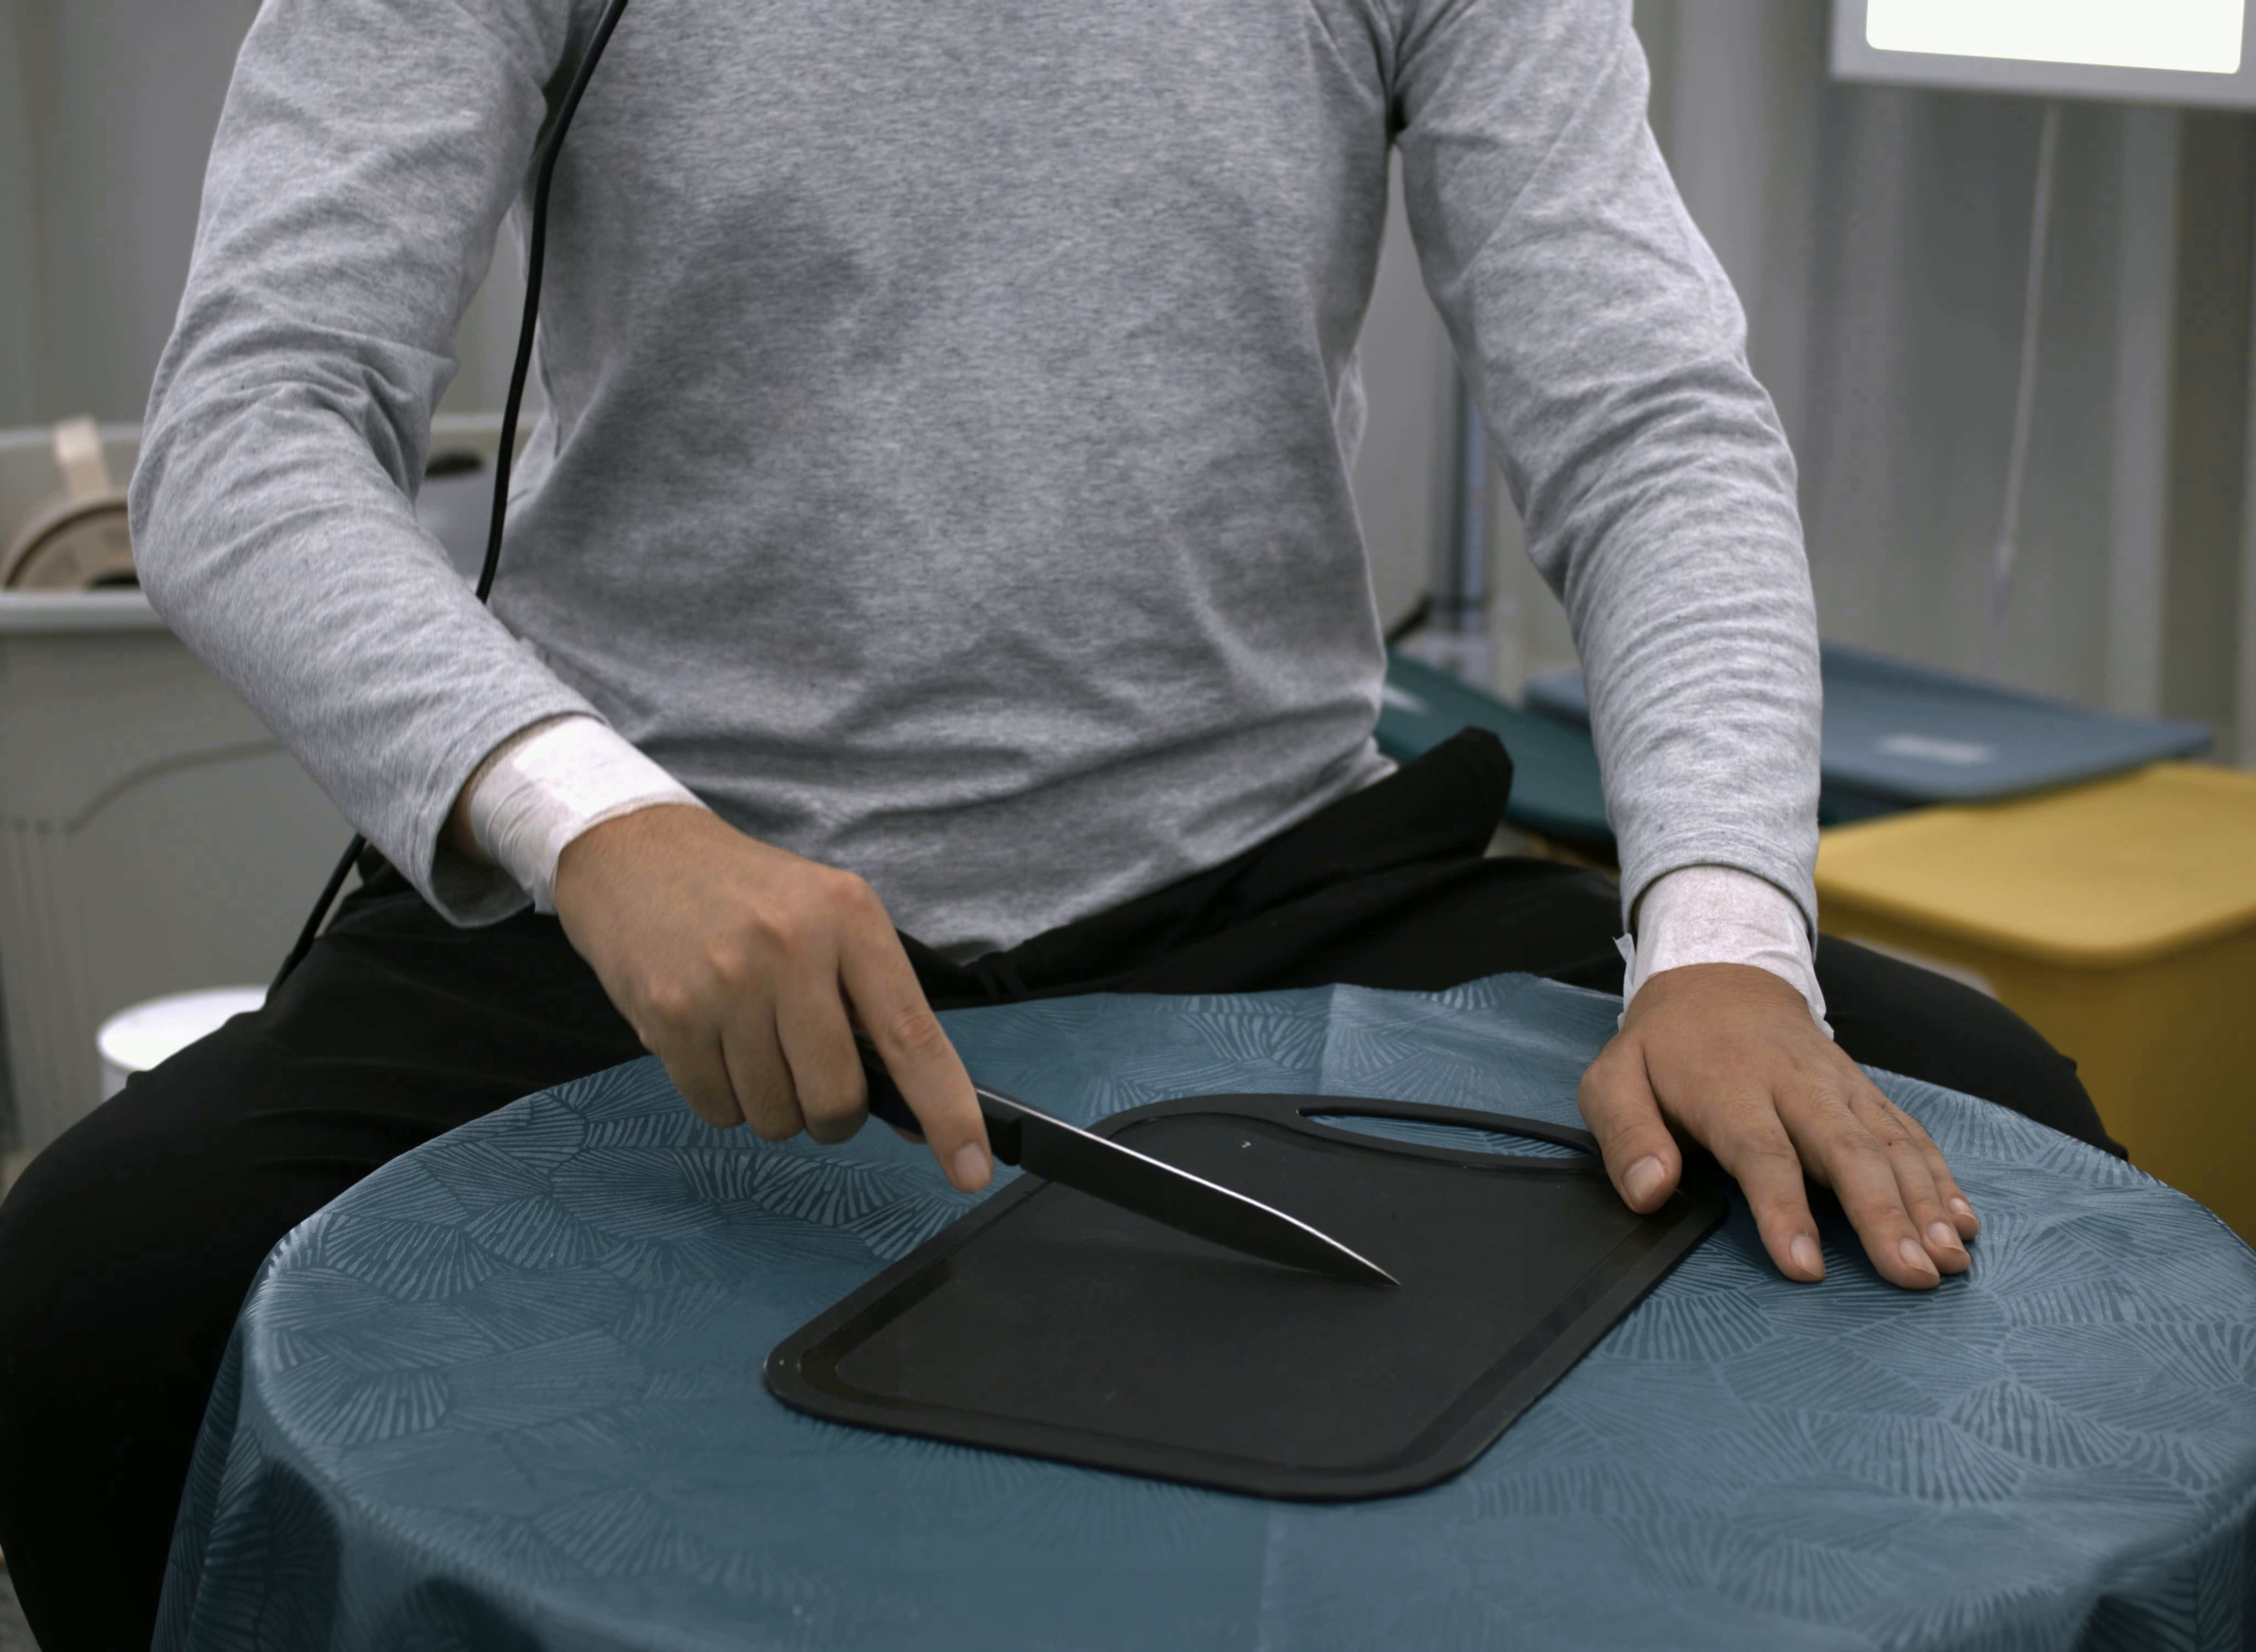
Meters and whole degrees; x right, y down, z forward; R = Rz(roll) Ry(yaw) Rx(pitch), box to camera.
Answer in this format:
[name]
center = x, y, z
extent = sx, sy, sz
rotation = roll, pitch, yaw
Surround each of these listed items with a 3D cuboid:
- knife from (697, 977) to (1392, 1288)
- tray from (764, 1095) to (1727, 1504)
[knife]
center = -0.024, 0.093, 1.572
extent = 0.236, 0.025, 0.016
rotation = 22, 33, 17
[tray]
center = 0.044, 0.130, 1.553
extent = 0.209, 0.010, 0.326
rotation = 8, 17, 23
